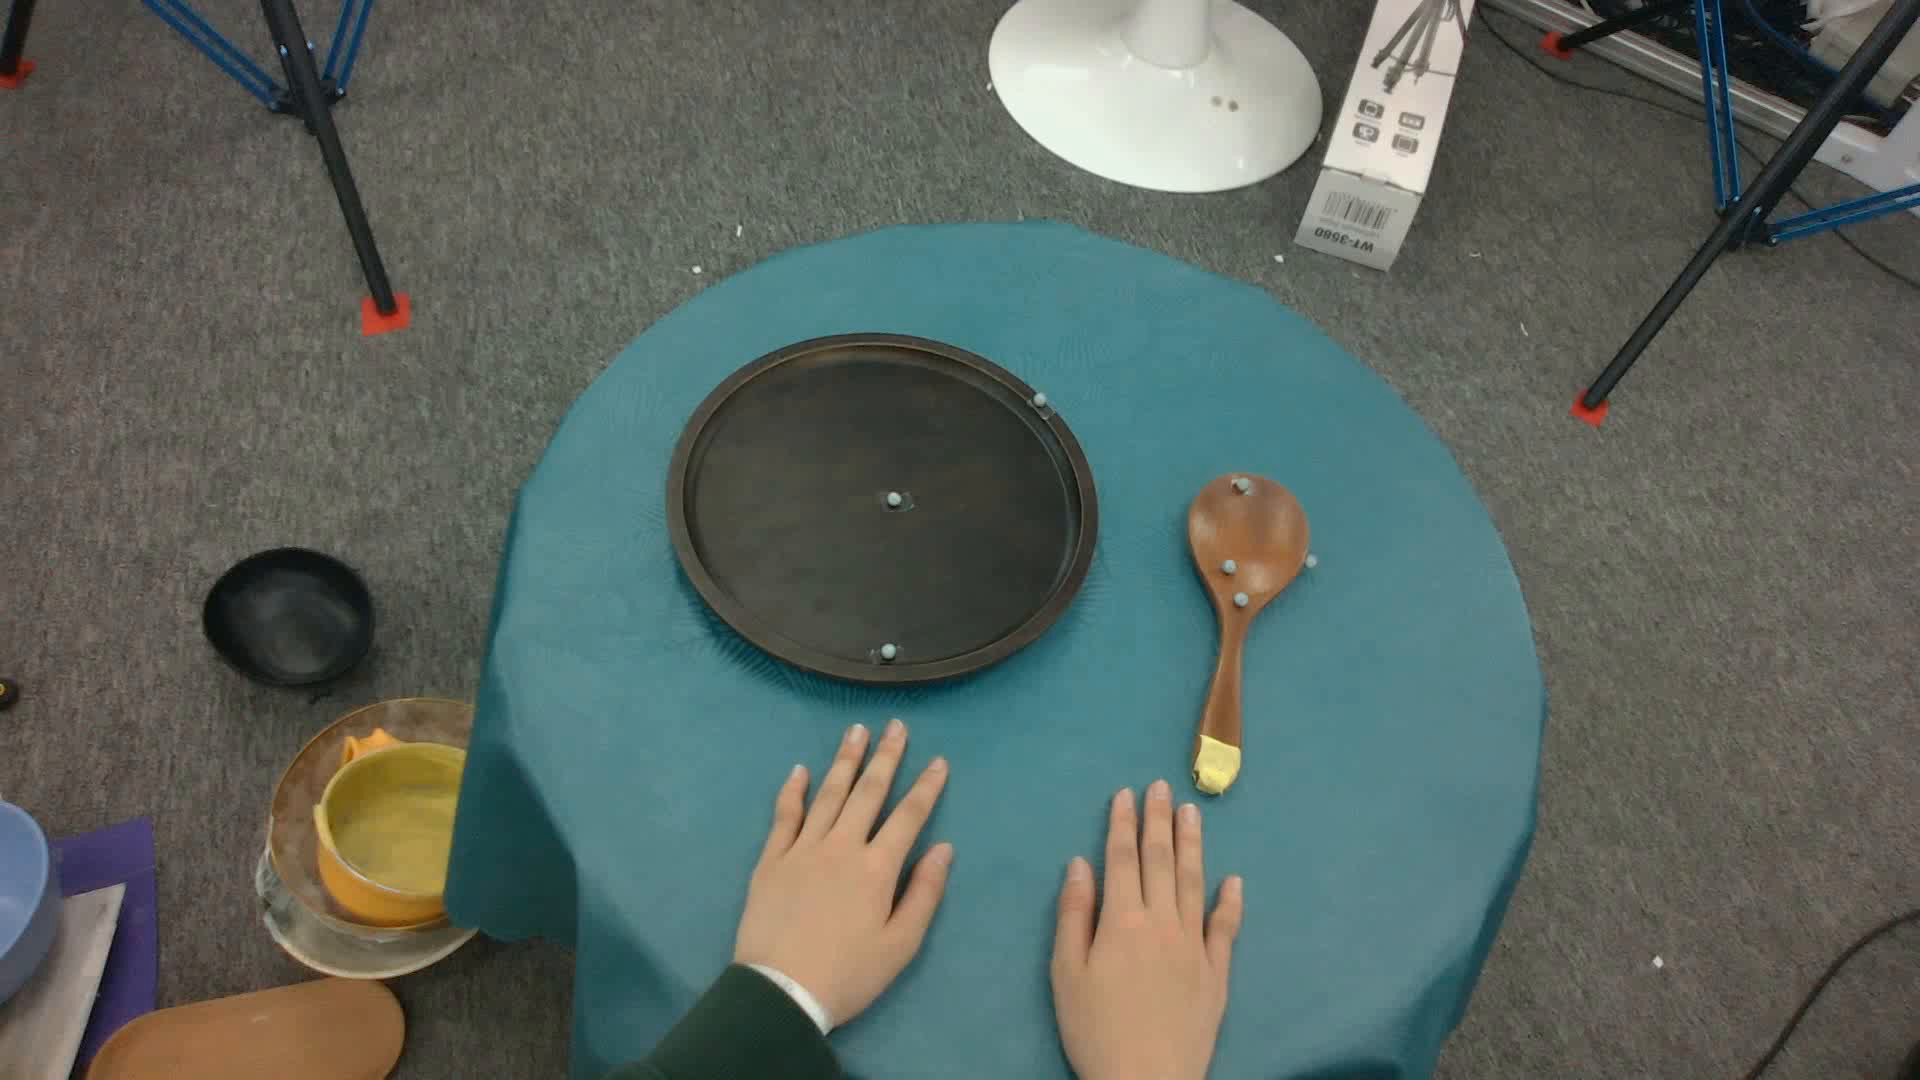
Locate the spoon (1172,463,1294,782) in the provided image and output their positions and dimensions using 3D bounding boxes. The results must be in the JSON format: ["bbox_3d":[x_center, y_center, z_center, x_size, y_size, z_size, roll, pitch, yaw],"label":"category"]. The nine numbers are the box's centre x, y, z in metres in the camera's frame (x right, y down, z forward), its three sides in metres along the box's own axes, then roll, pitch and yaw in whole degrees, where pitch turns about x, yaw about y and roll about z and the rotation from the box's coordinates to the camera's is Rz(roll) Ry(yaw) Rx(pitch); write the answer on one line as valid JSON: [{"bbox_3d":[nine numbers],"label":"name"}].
[{"bbox_3d":[0.150,0.042,0.792,0.075,0.017,0.217,15,54,1],"label":"spoon"}]

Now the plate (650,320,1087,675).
[{"bbox_3d":[-0.051,-0.030,0.806,0.255,0.029,0.256,5,53,-6],"label":"plate"}]
